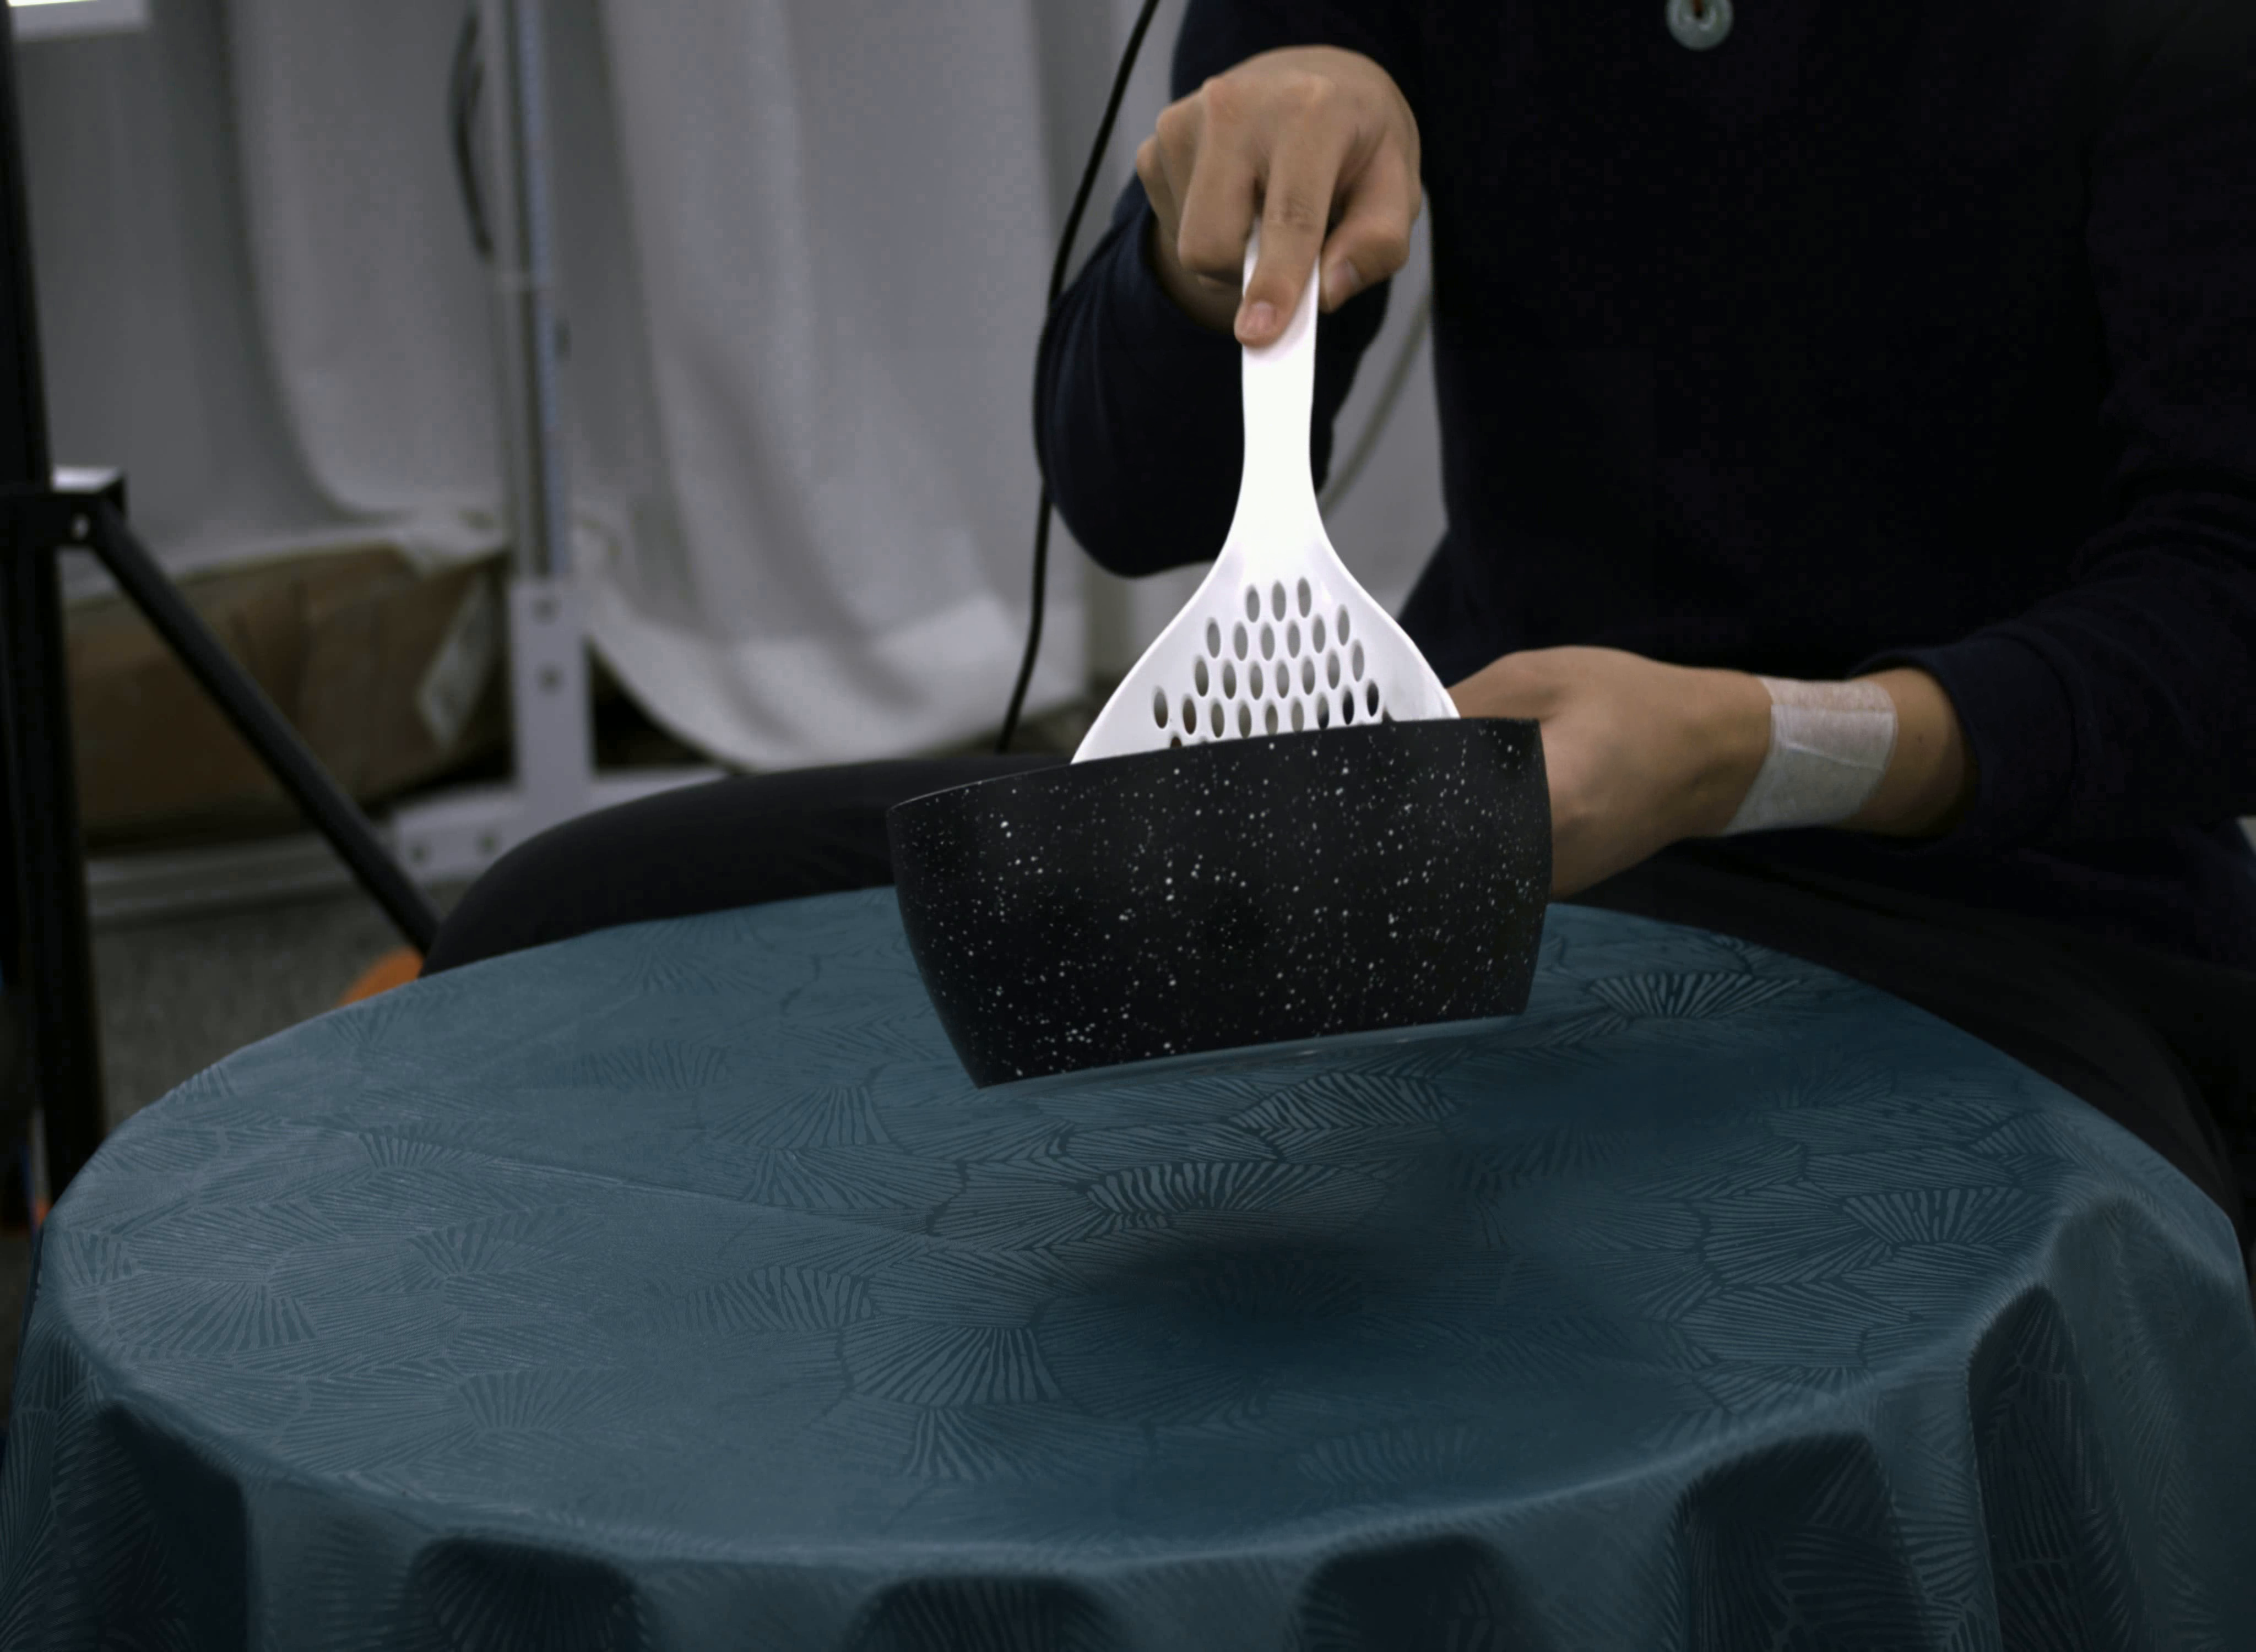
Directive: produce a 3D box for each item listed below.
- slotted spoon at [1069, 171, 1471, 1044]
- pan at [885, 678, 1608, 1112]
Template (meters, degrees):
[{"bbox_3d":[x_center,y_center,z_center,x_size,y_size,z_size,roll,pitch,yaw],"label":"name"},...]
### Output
[{"bbox_3d":[0.043,-0.072,1.563,0.137,0.049,0.351,-9,55,14],"label":"slotted spoon"},{"bbox_3d":[0.065,0.013,1.539,0.210,0.109,0.335,-11,-4,29],"label":"pan"}]
